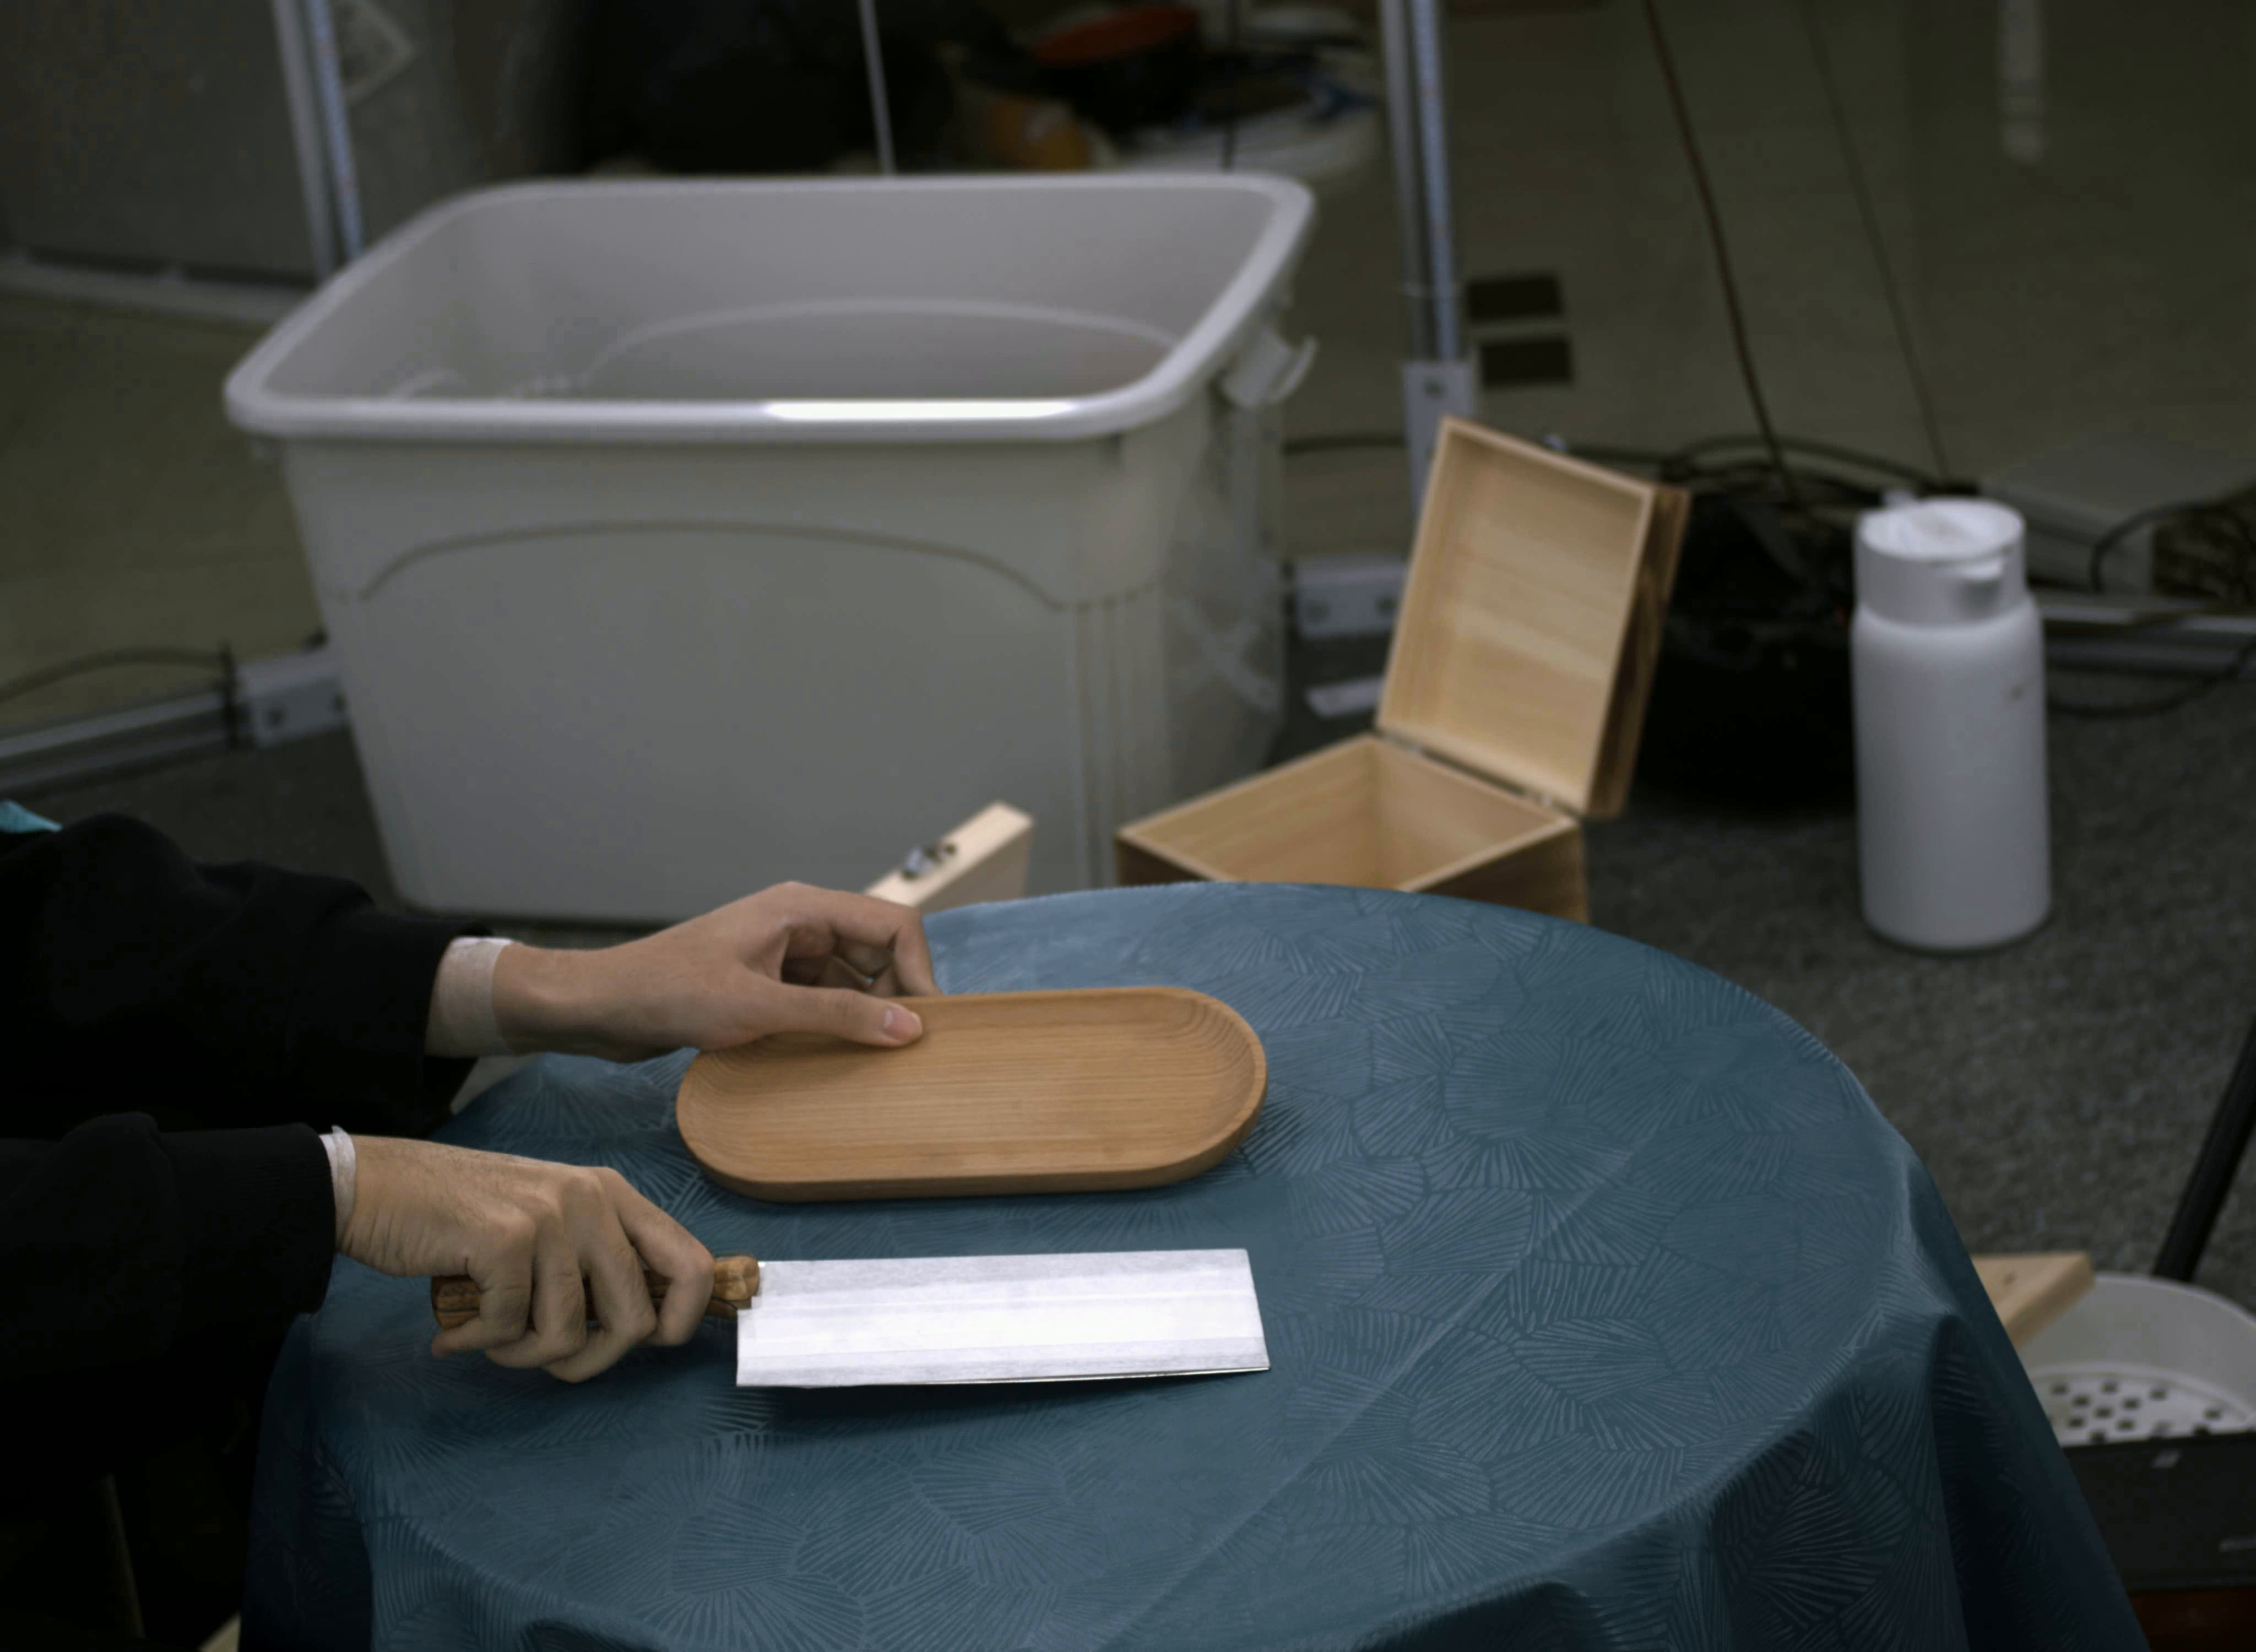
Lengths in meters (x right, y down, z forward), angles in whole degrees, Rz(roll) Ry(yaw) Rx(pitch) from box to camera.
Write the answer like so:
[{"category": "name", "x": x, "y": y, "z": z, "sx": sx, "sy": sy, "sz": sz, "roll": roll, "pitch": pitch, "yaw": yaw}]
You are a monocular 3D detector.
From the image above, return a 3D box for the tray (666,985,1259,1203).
[{"category": "tray", "x": -0.064, "y": 0.104, "z": 2.187, "sx": 0.231, "sy": 0.021, "sz": 0.100, "roll": -3, "pitch": 43, "yaw": 8}]

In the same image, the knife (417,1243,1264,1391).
[{"category": "knife", "x": -0.104, "y": 0.178, "z": 2.047, "sx": 0.305, "sy": 0.021, "sz": 0.091, "roll": -1, "pitch": 25, "yaw": -4}]
